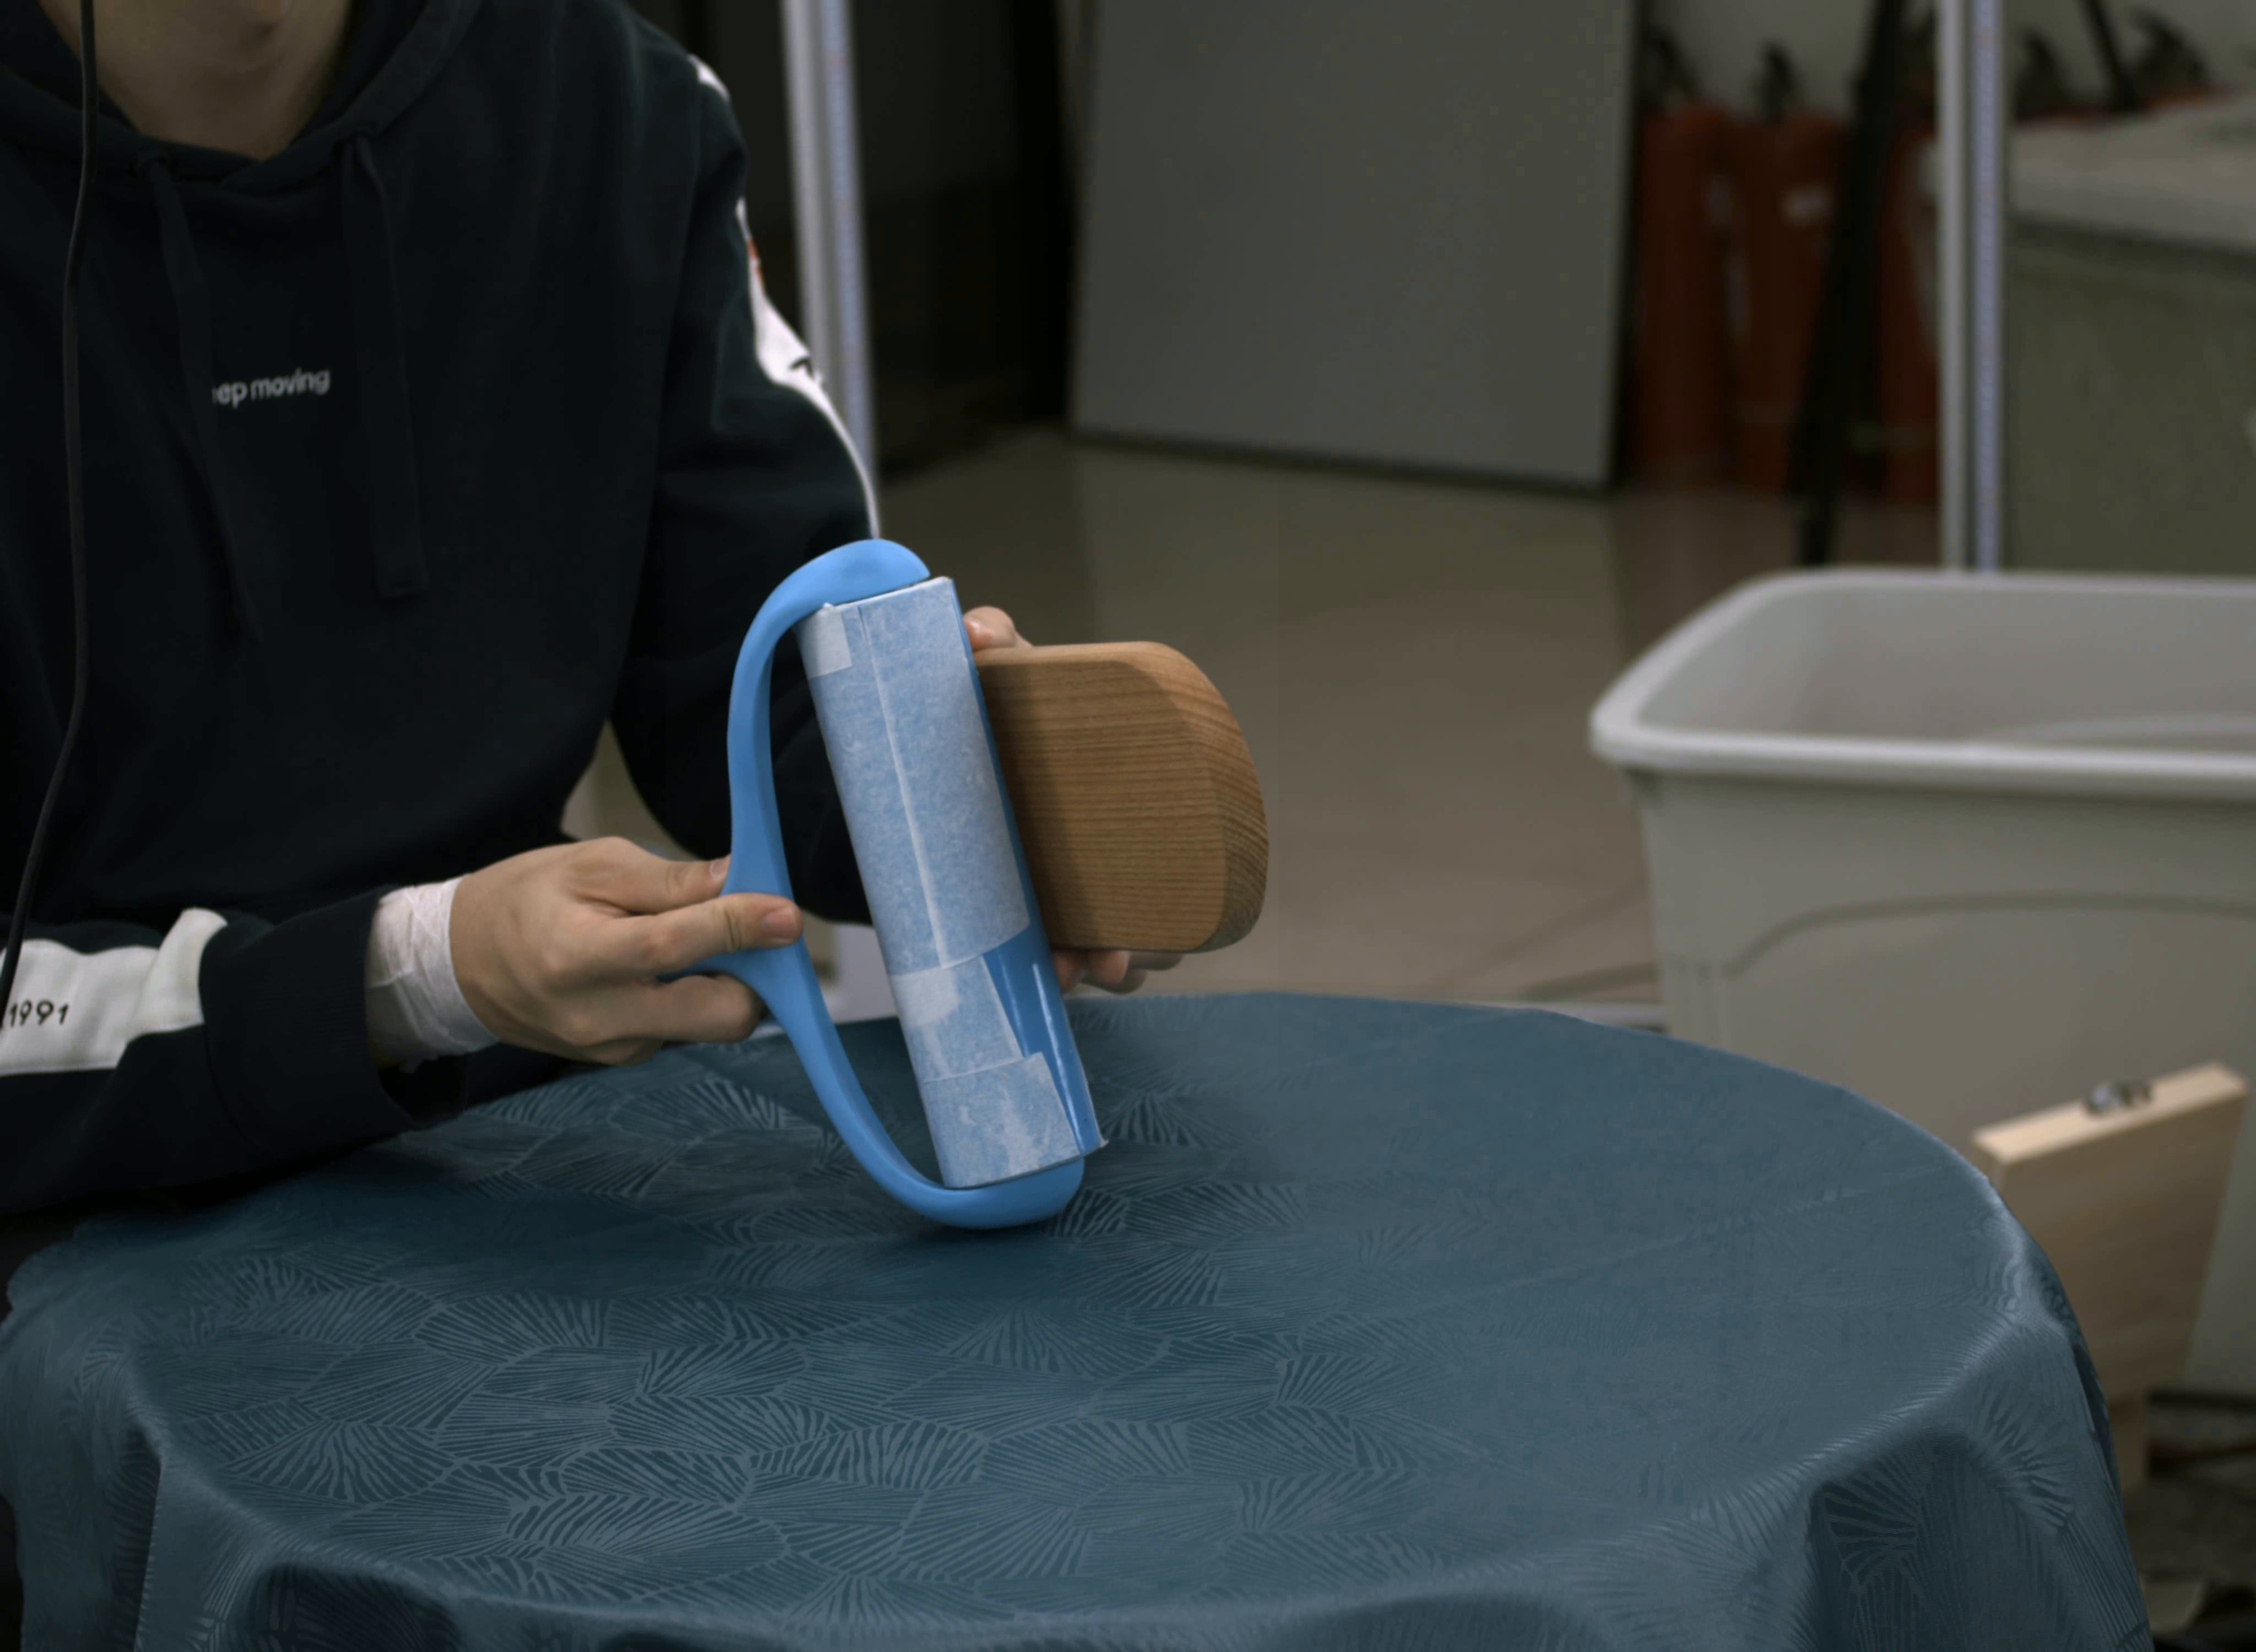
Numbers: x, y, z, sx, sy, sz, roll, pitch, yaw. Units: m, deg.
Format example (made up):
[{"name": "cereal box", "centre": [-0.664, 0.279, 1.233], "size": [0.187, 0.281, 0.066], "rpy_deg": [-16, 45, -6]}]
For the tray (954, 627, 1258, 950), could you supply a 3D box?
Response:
[{"name": "tray", "centre": [-0.025, -0.011, 1.735], "size": [0.020, 0.103, 0.233], "rpy_deg": [-15, 8, -30]}]

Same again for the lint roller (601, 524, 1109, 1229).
[{"name": "lint roller", "centre": [-0.108, 0.032, 1.763], "size": [0.181, 0.231, 0.067], "rpy_deg": [-17, 2, 27]}]
